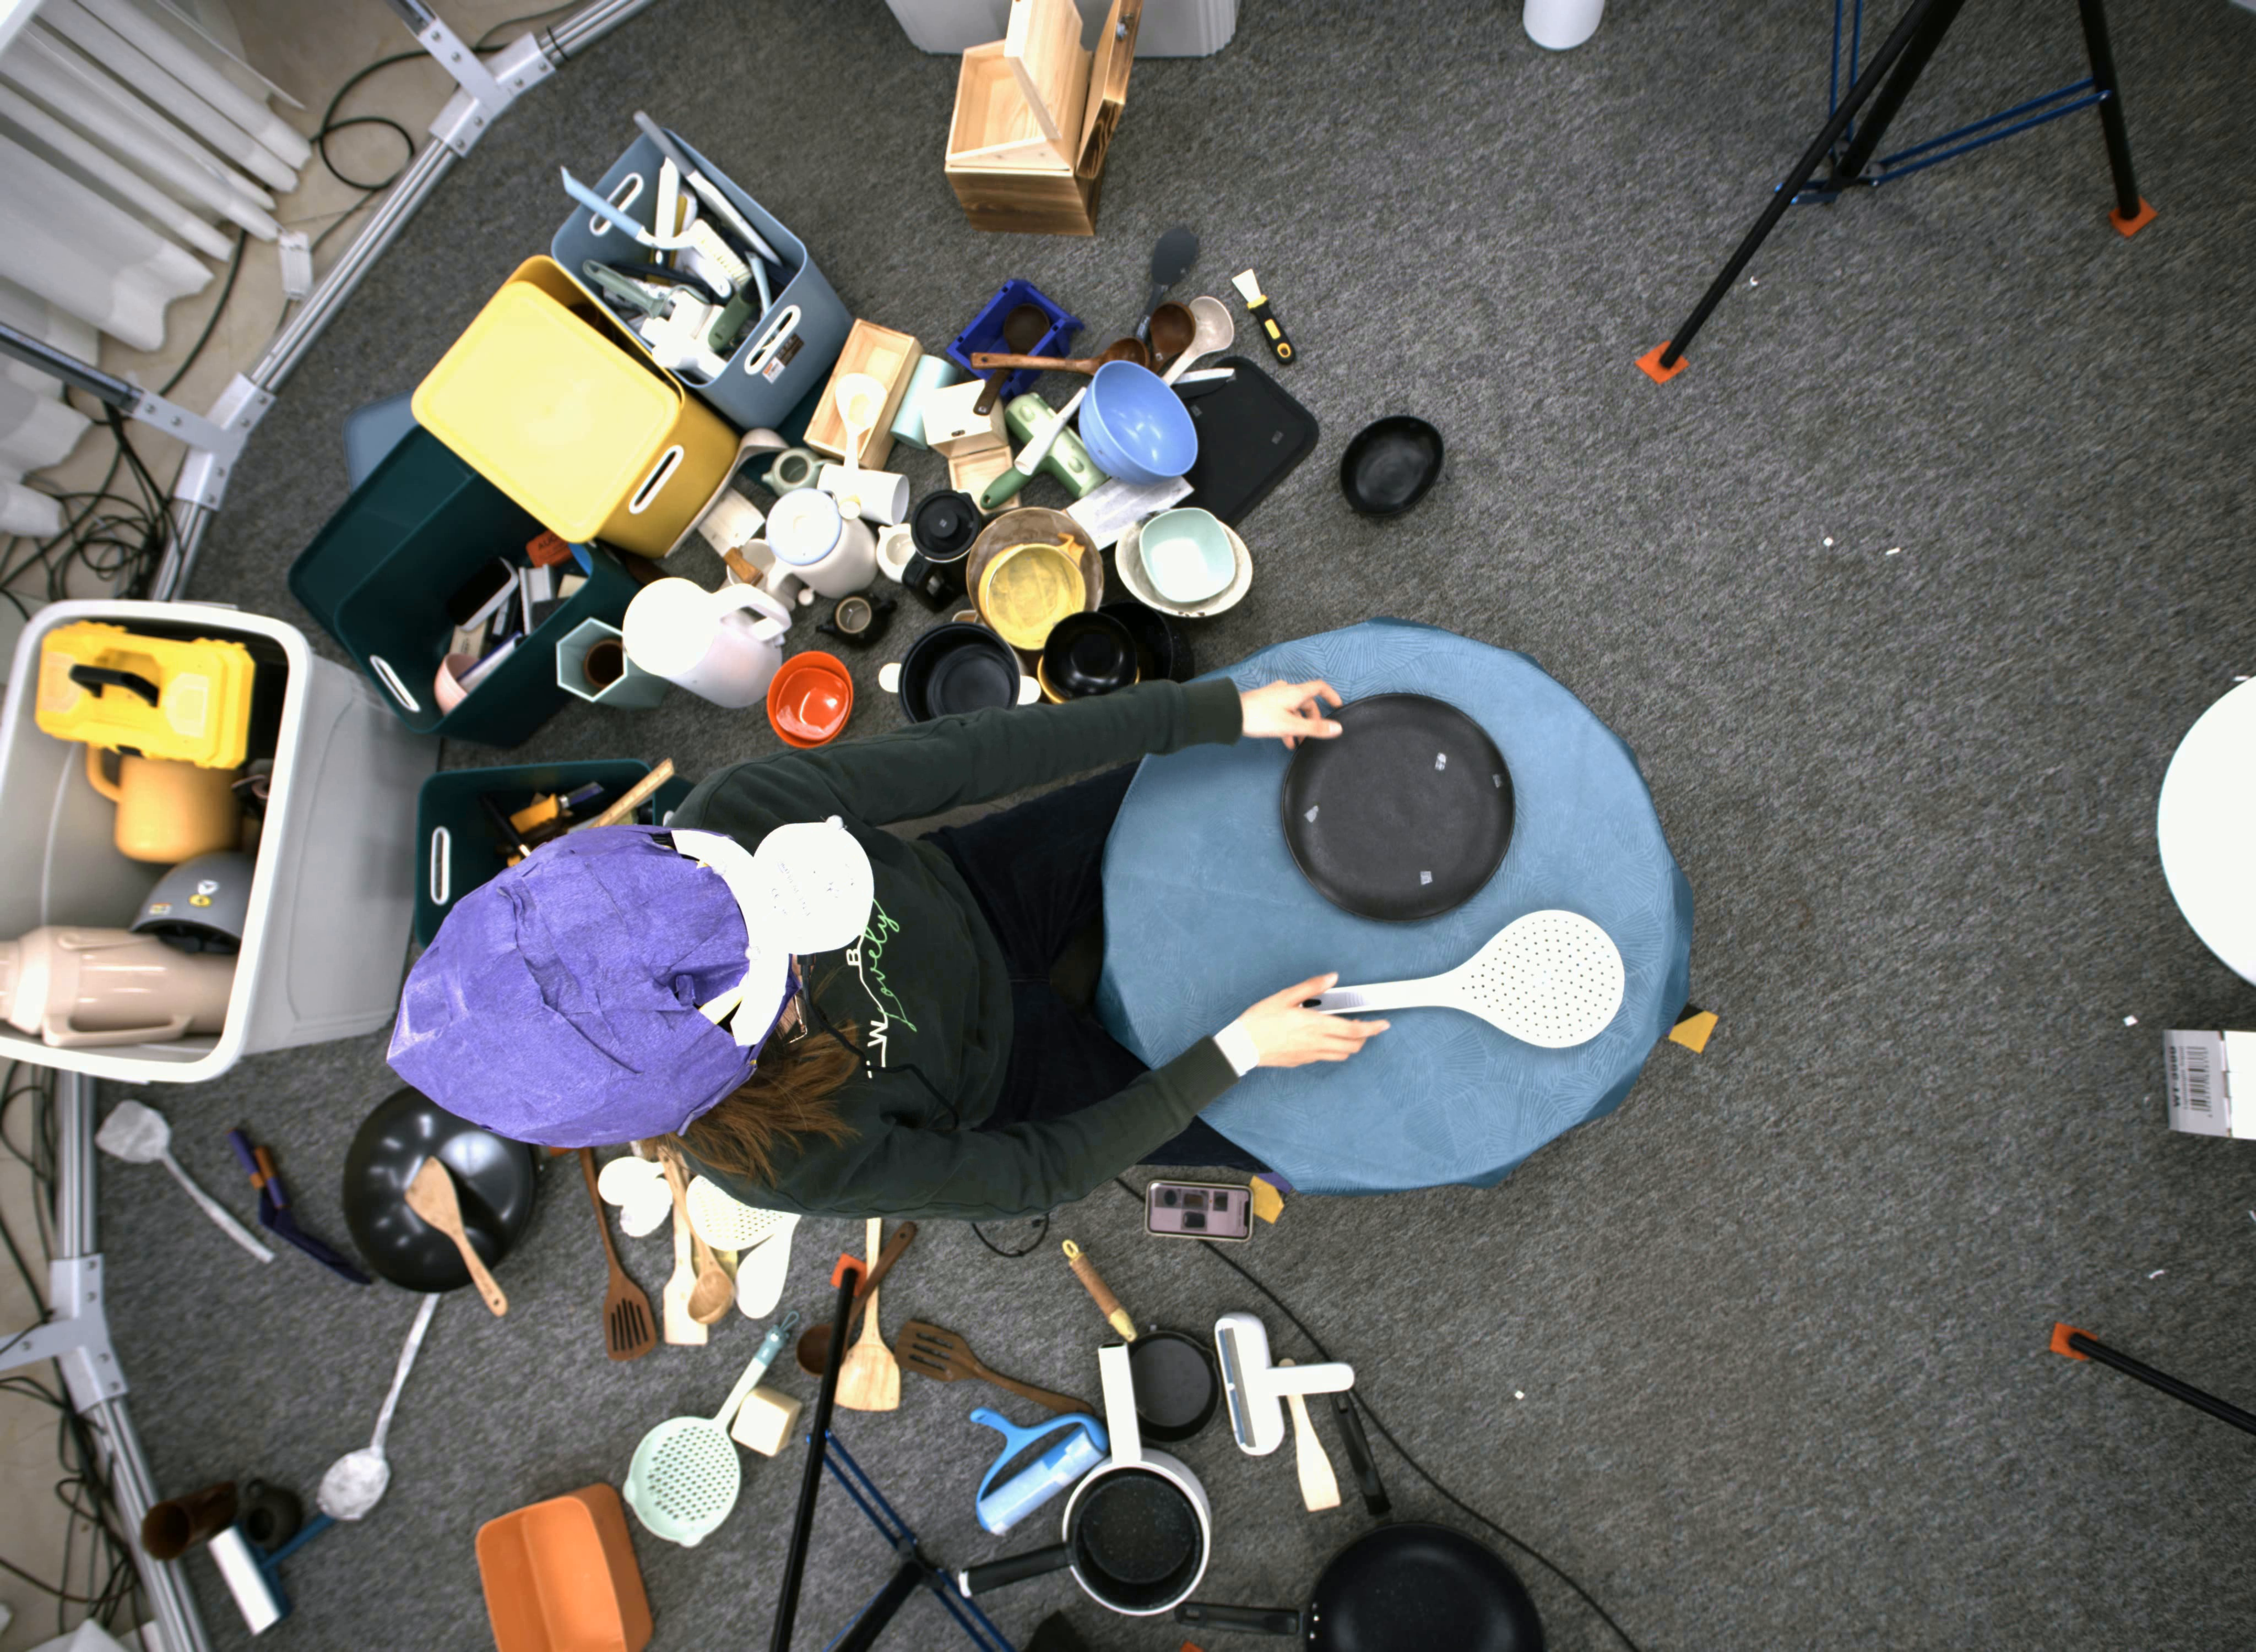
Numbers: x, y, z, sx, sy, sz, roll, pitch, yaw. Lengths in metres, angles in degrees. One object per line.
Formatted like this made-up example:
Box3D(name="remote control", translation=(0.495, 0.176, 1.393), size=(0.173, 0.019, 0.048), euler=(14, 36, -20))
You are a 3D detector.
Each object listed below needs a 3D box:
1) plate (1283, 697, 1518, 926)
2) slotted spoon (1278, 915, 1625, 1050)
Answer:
Box3D(name="plate", translation=(0.287, -0.017, 1.456), size=(0.245, 0.023, 0.243), euler=(-1, 86, 10))
Box3D(name="slotted spoon", translation=(0.329, 0.170, 1.424), size=(0.351, 0.046, 0.135), euler=(-7, 83, 11))
